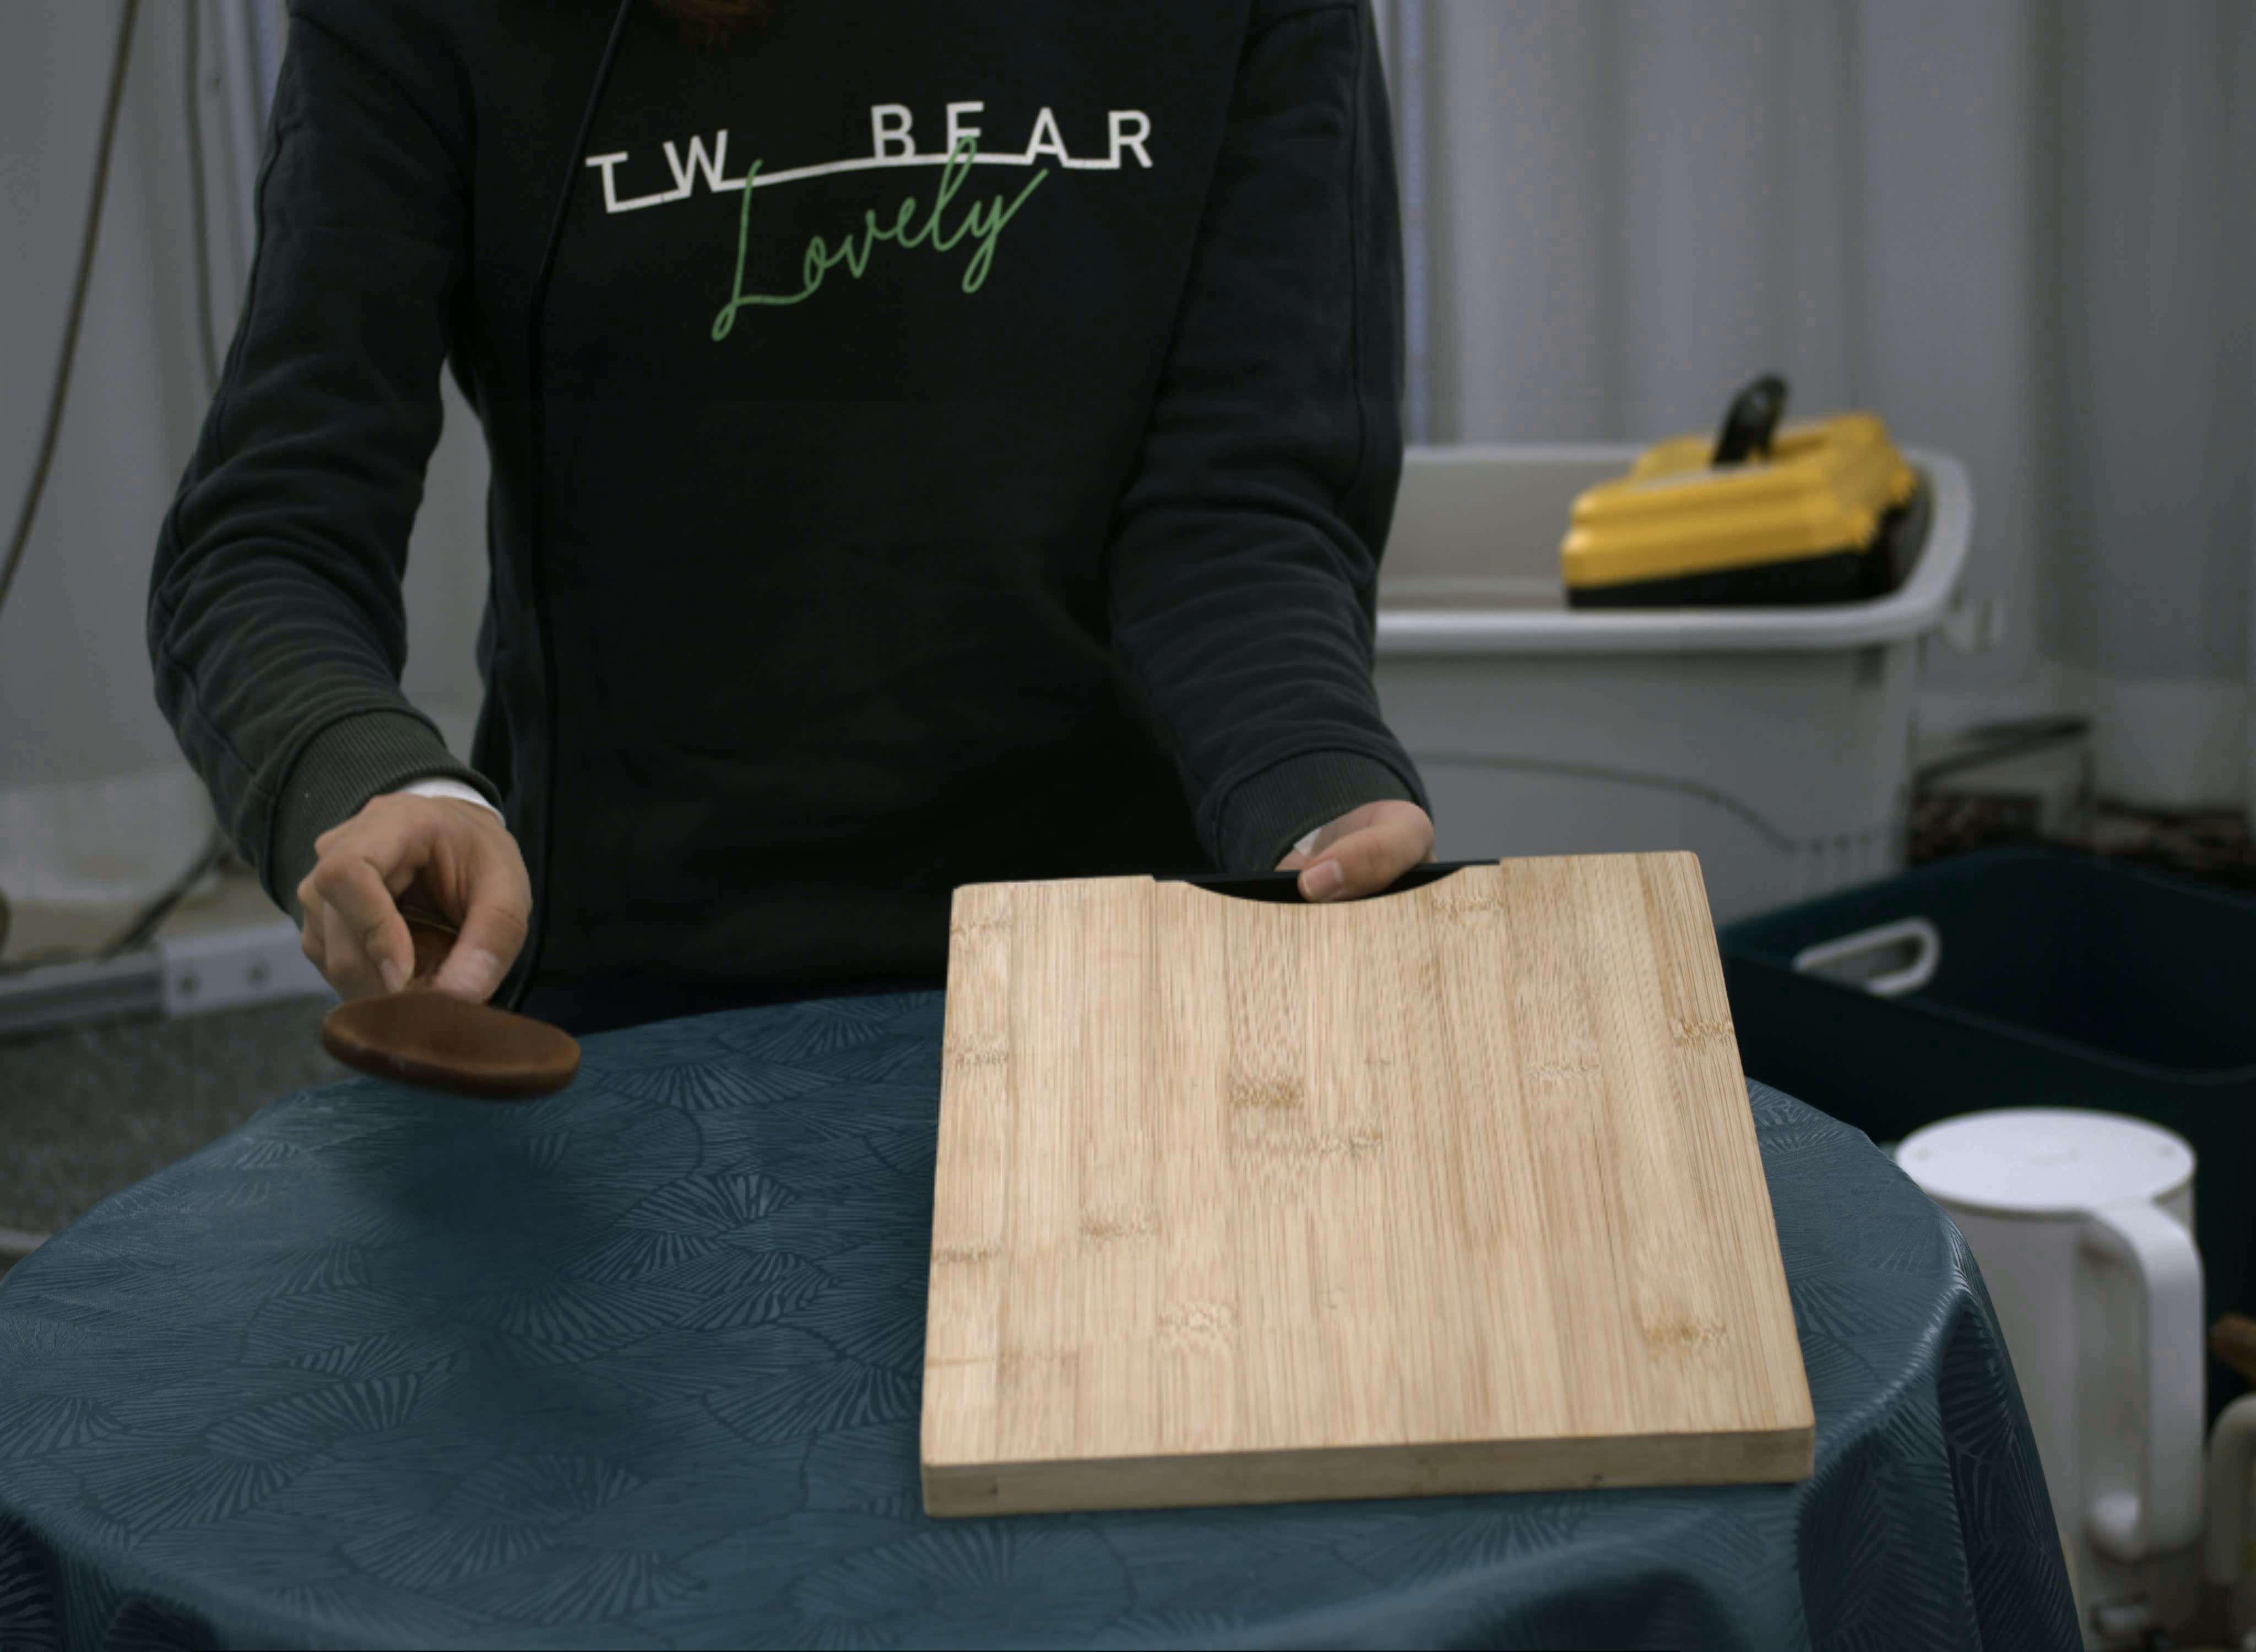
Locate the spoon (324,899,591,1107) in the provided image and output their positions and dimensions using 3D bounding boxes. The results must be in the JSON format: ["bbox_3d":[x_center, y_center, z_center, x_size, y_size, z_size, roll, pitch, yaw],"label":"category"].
[{"bbox_3d":[-0.202,0.053,1.614,0.075,0.017,0.217,5,11,-11],"label":"spoon"}]

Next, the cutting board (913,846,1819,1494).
[{"bbox_3d":[0.065,0.095,1.612,0.250,0.023,0.352,-2,26,0],"label":"cutting board"}]
